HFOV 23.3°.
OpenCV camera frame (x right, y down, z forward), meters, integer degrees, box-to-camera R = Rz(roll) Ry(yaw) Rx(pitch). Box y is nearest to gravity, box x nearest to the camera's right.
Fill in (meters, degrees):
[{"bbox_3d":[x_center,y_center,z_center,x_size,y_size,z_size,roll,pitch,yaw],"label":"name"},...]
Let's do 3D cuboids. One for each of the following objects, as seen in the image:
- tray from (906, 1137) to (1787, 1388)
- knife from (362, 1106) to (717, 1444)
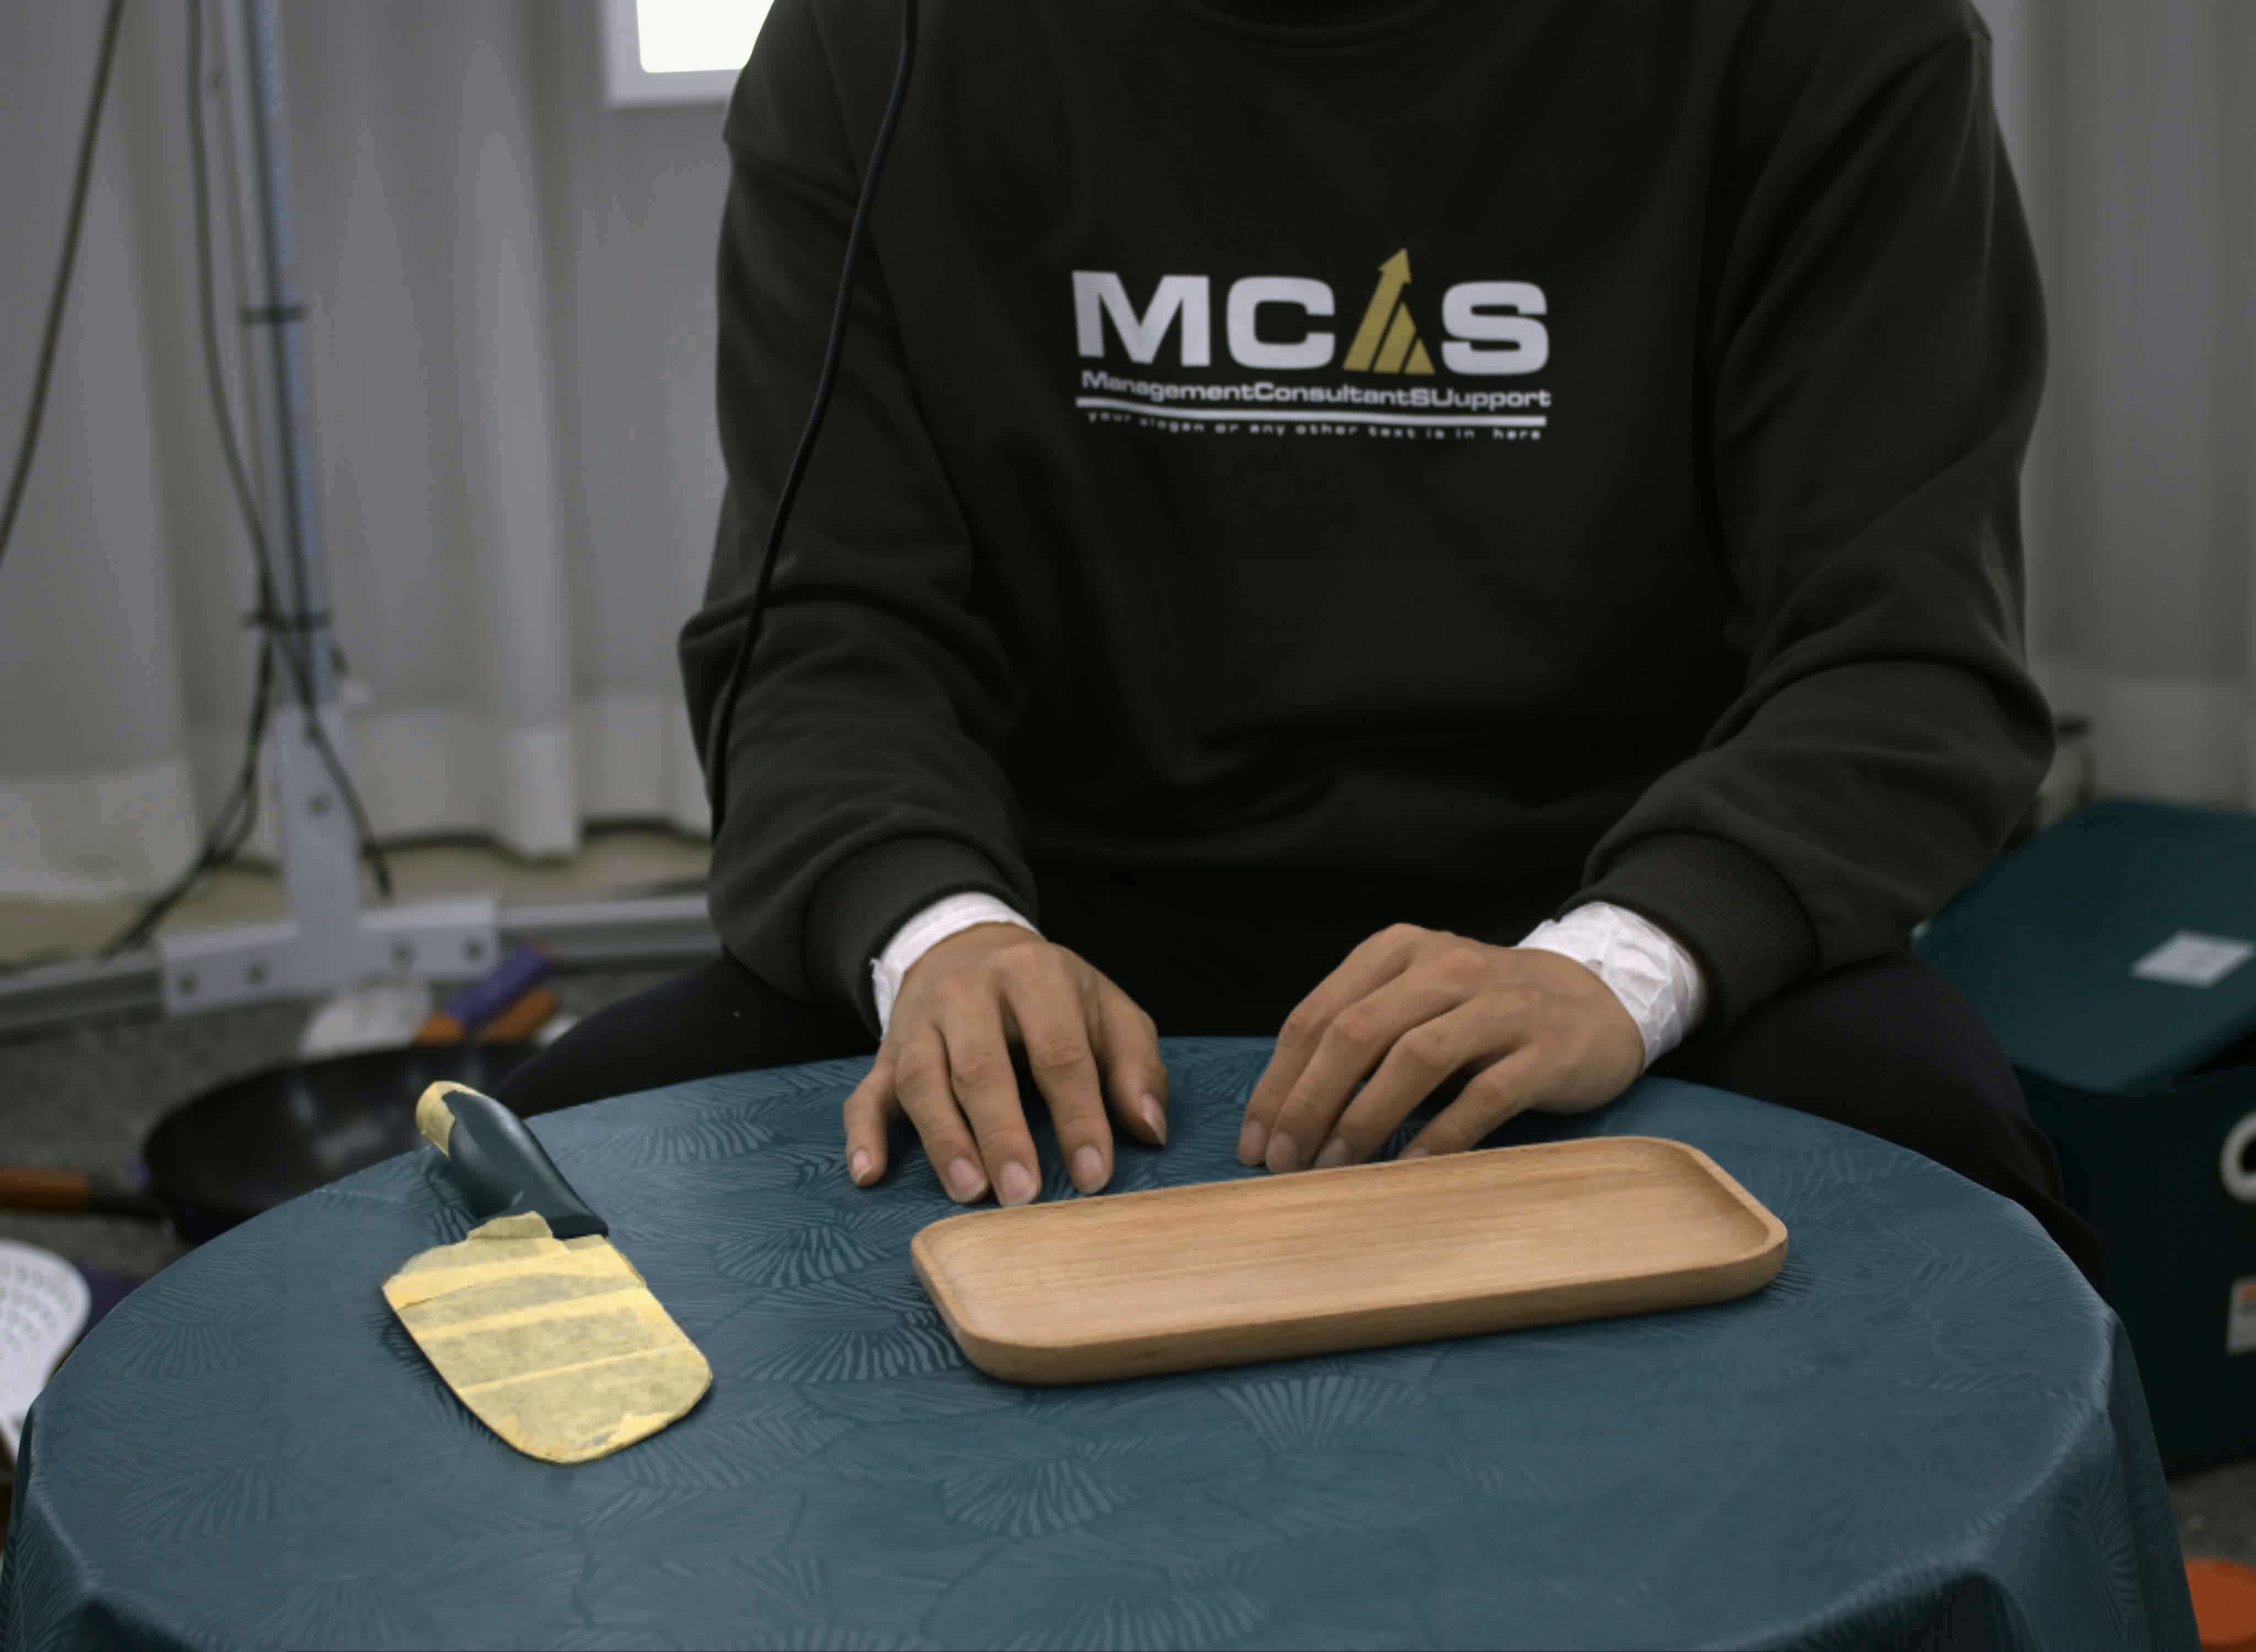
[{"bbox_3d":[0.064,0.129,1.621,0.249,0.023,0.131,-6,12,-12],"label":"tray"},{"bbox_3d":[-0.188,0.135,1.647,0.080,0.027,0.292,-6,16,-18],"label":"knife"}]
